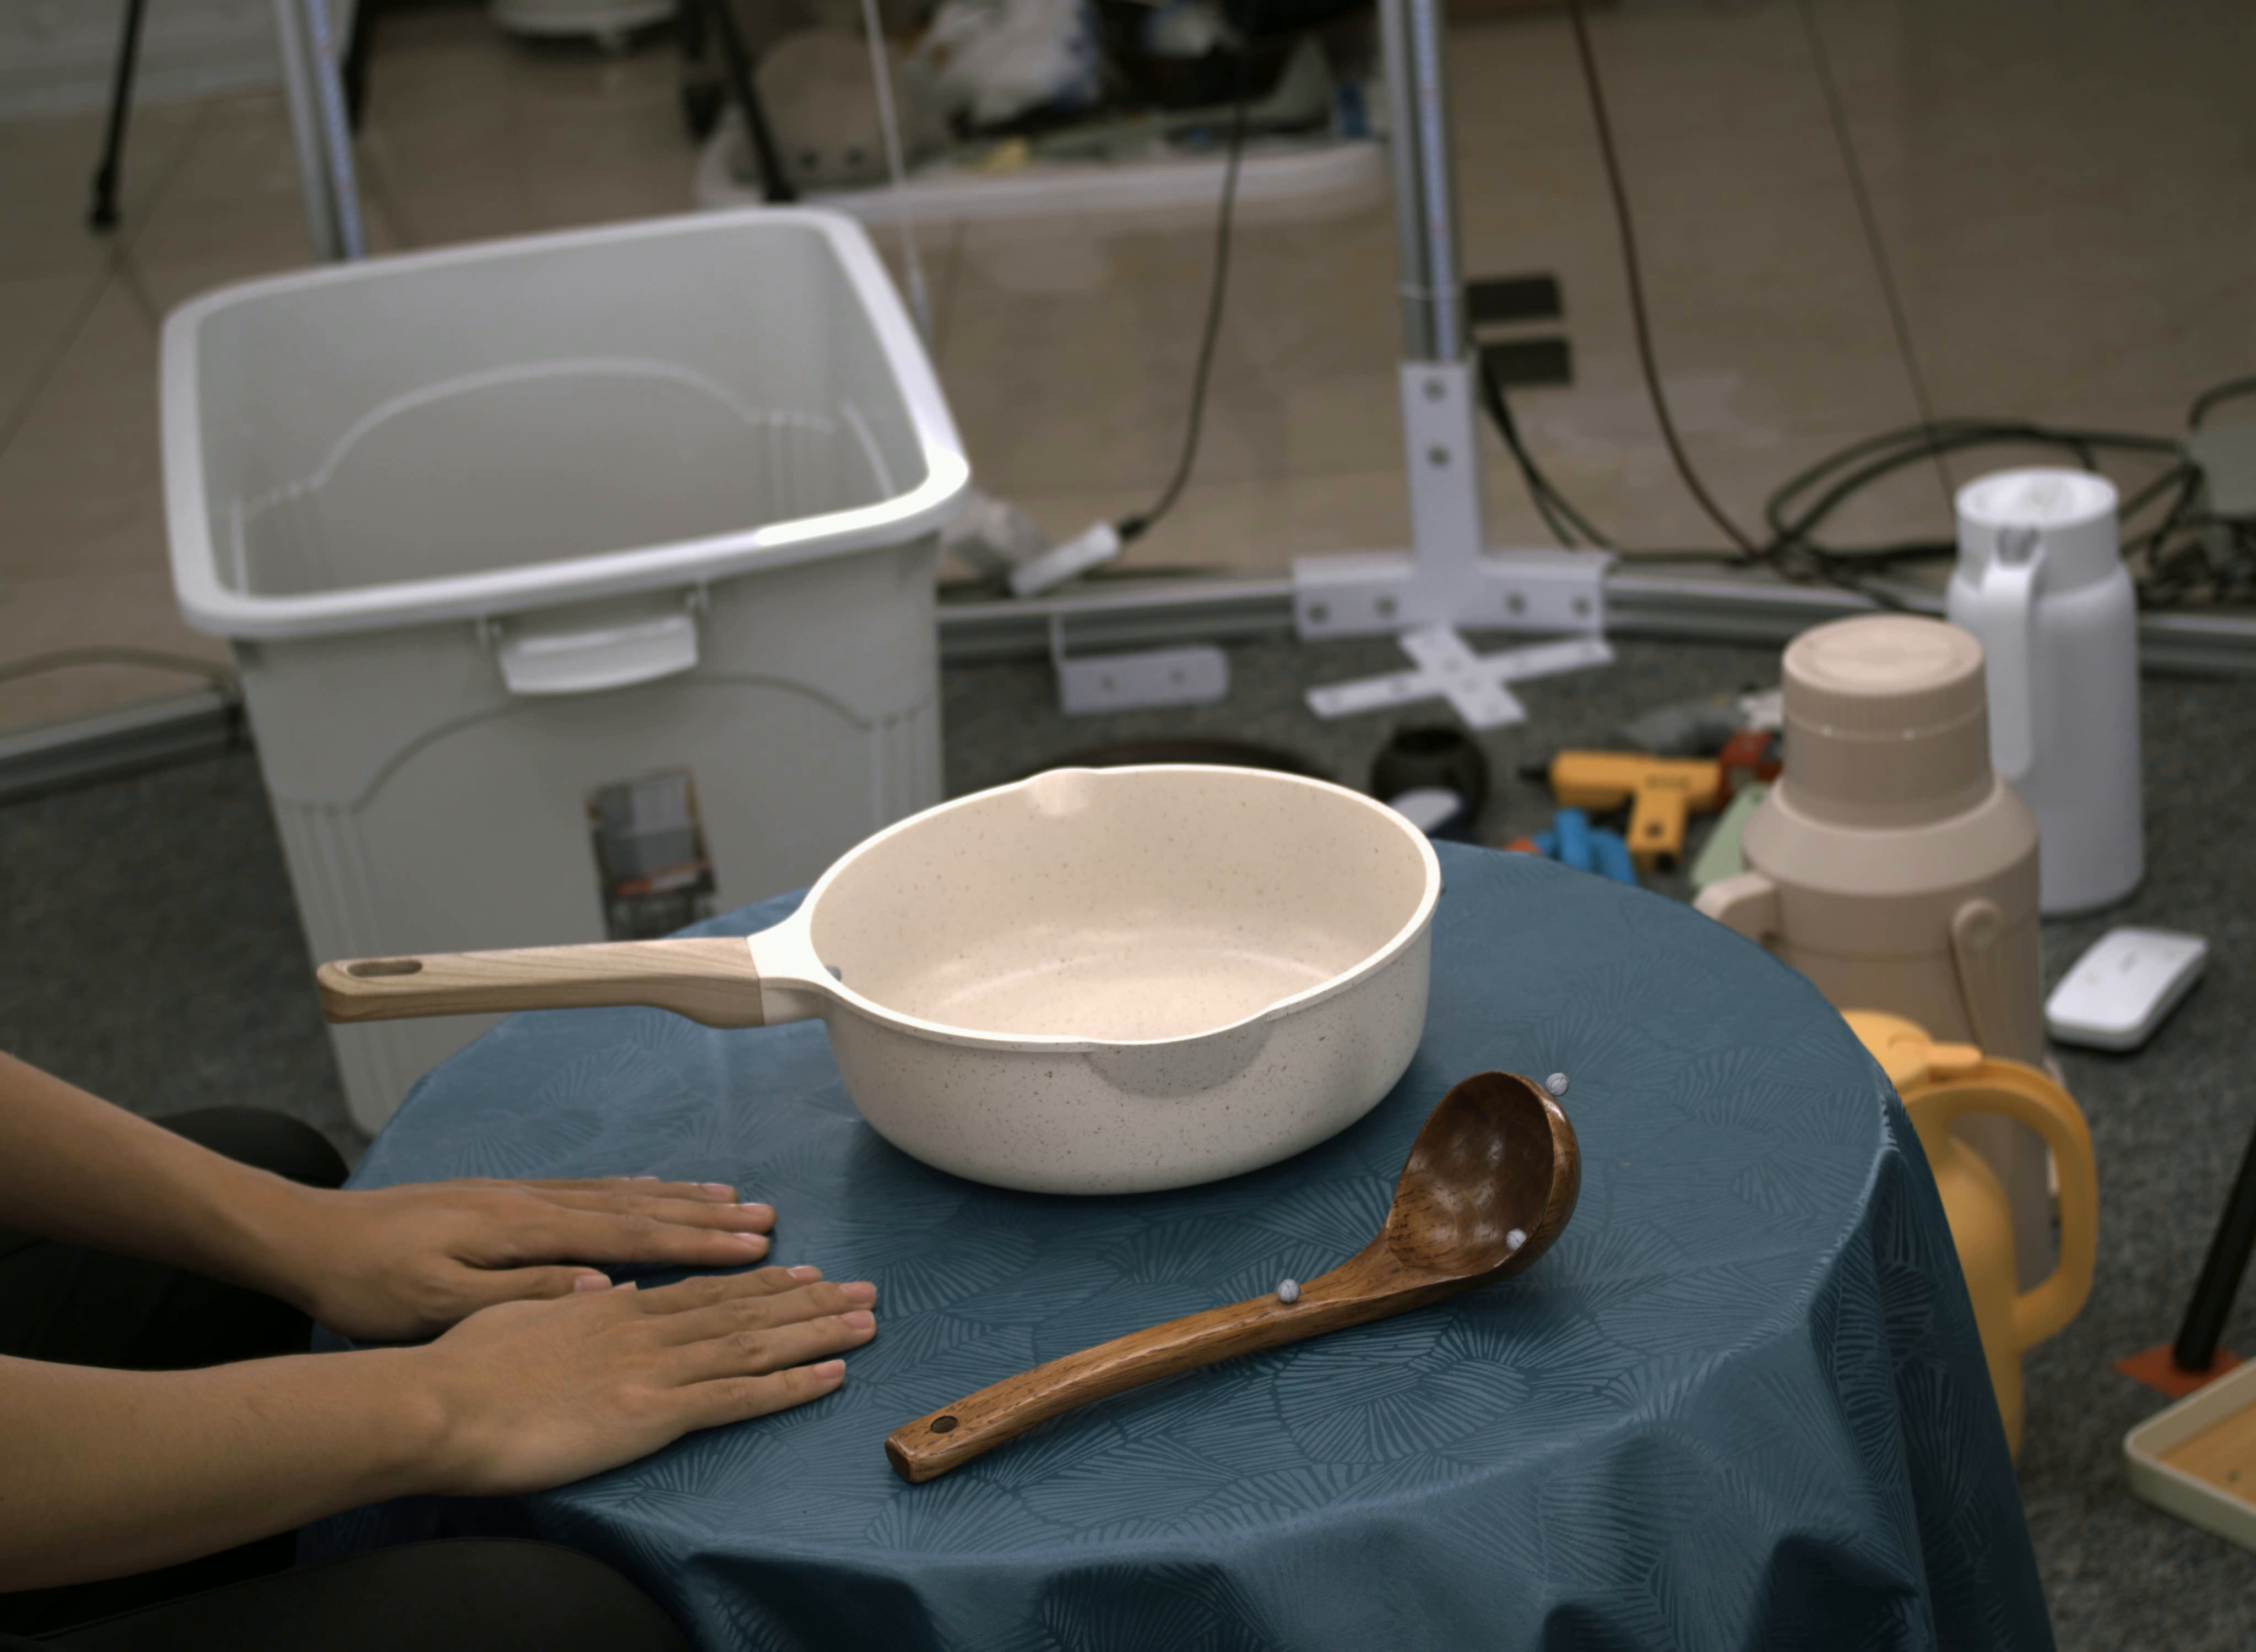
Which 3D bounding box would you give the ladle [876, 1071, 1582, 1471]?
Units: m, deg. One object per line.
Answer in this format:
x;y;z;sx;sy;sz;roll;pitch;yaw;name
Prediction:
0.037;0.156;2.012;0.273;0.078;0.081;-16;28;-20;ladle

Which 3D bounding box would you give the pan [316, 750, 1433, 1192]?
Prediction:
-0.093;0.069;2.205;0.434;0.103;0.259;-10;27;-8;pan
